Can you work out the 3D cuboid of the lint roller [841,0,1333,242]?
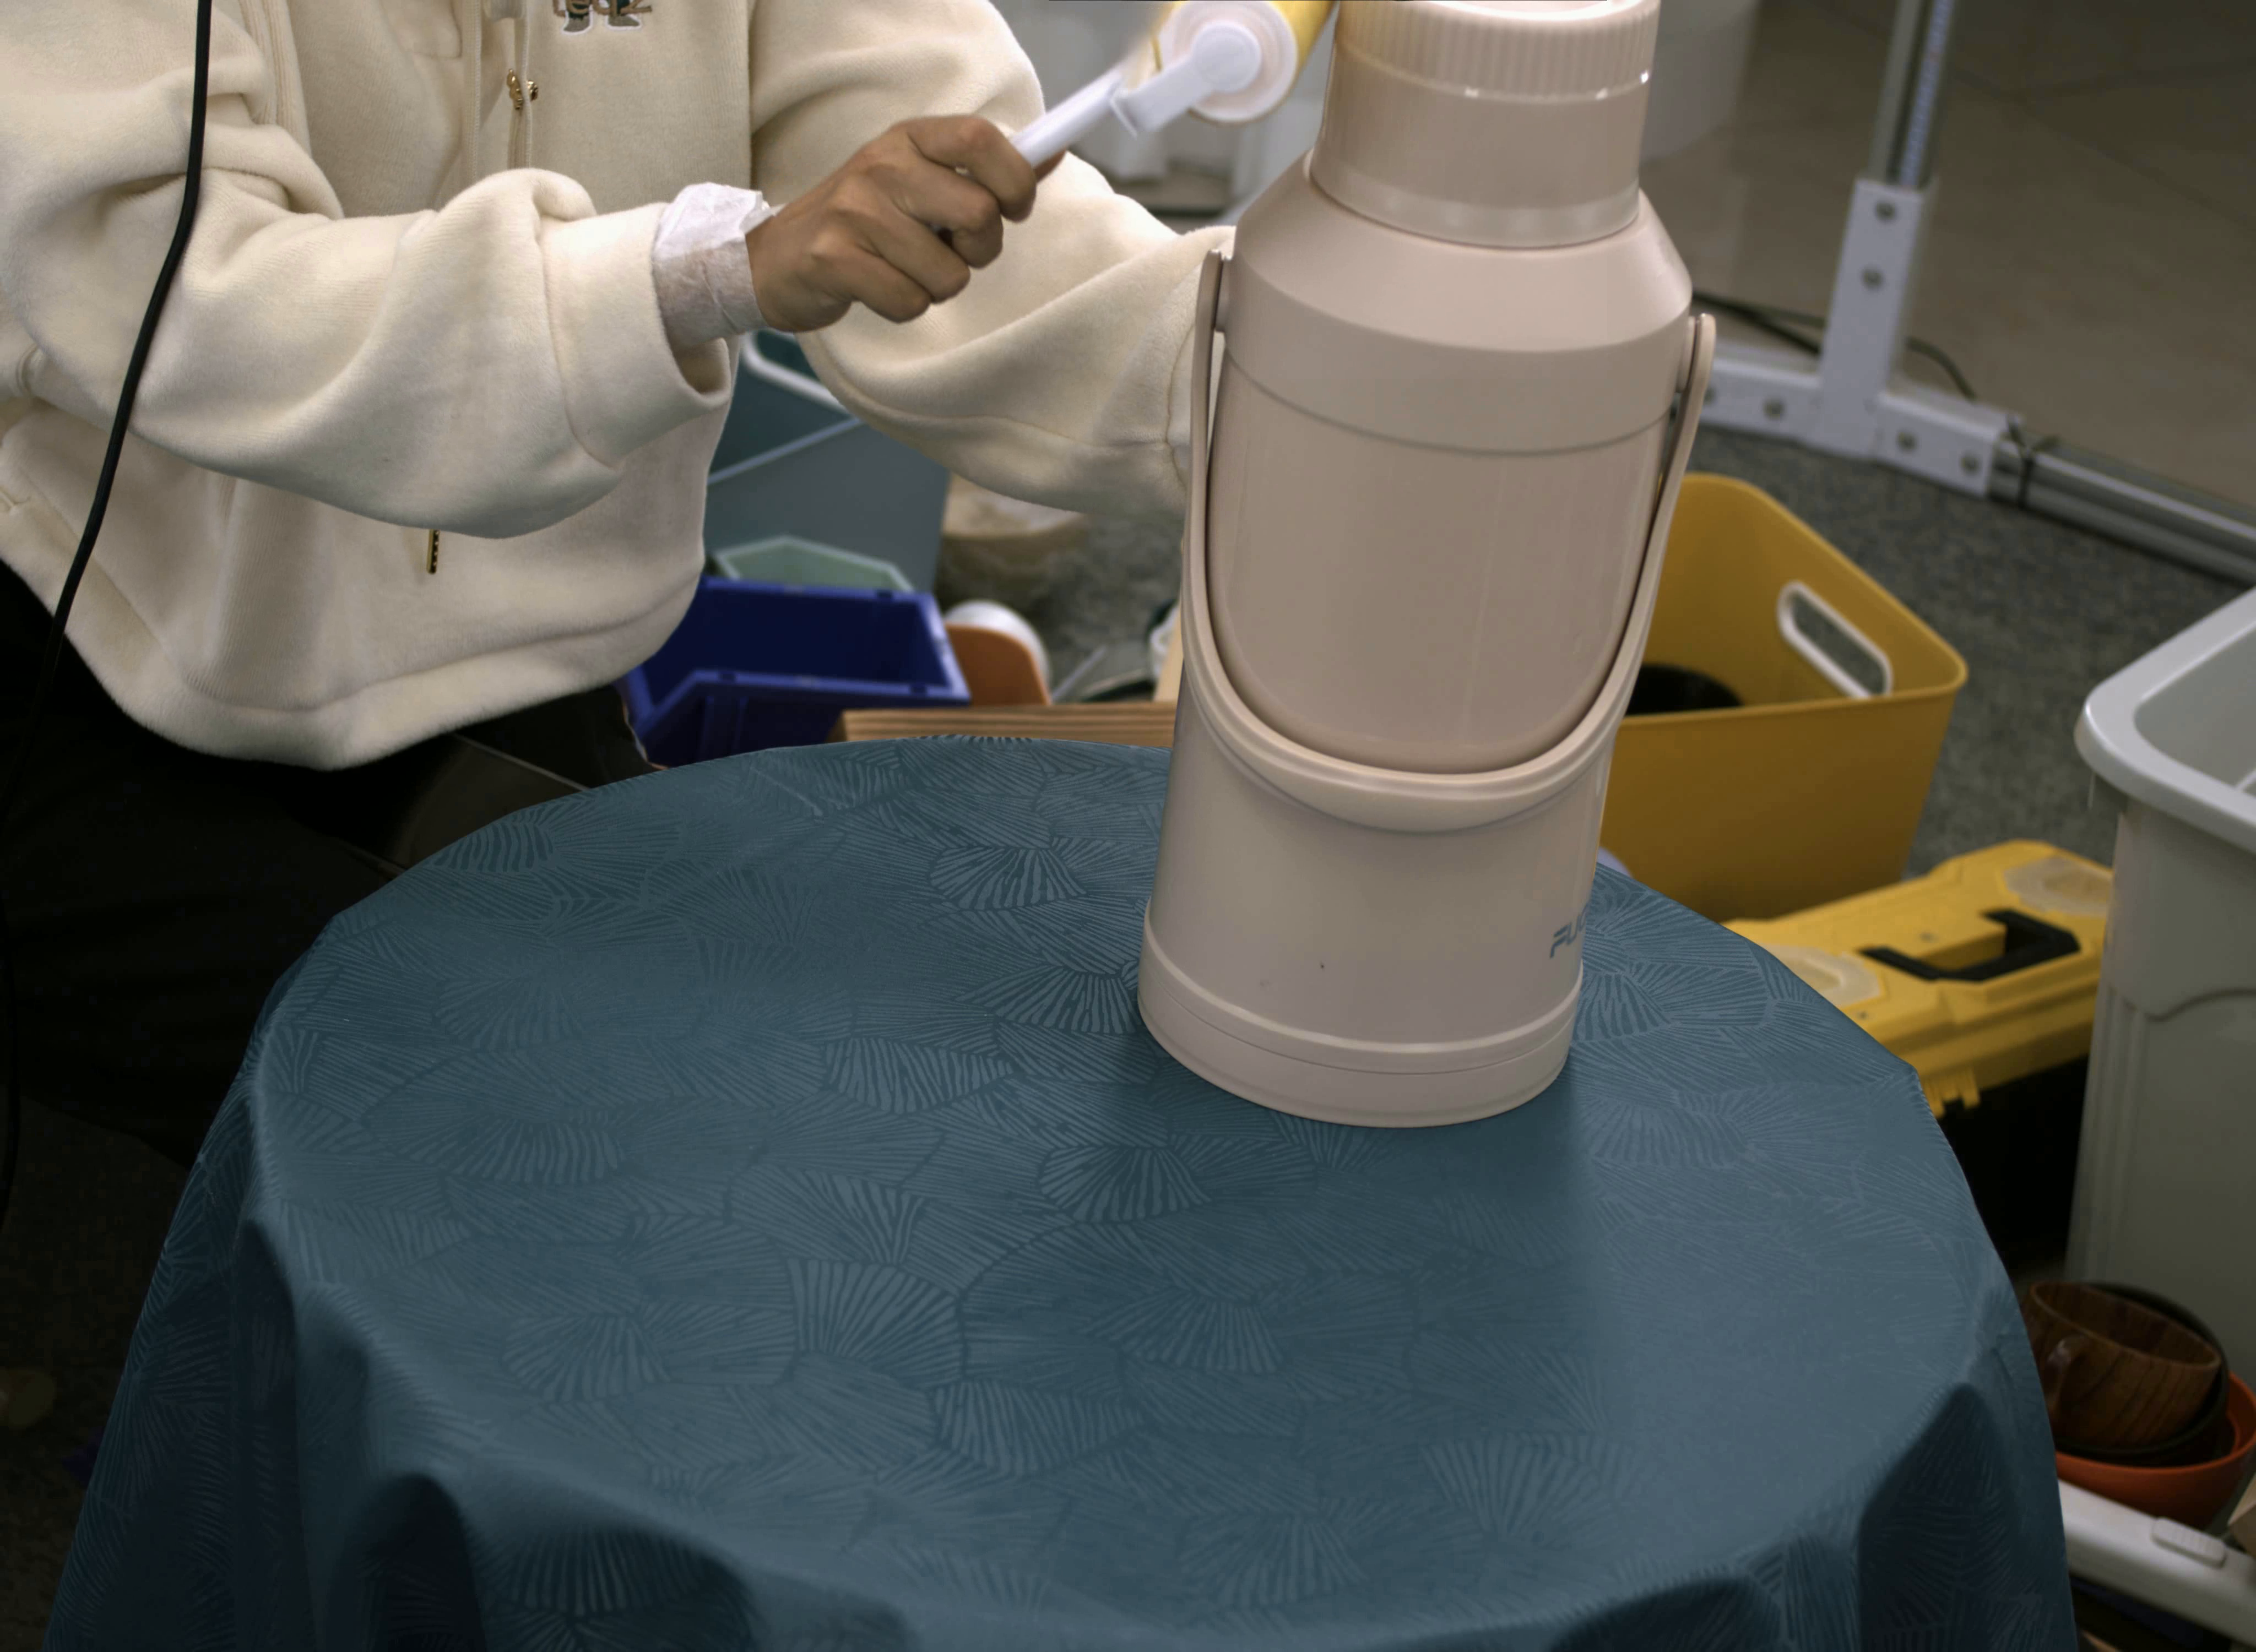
[{"bbox_3d":[-0.019,-0.253,1.785,0.192,0.051,0.175,-21,17,17],"label":"lint roller"}]

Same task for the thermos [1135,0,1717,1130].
[{"bbox_3d":[0.105,-0.111,1.851,0.175,0.405,0.208,7,26,2],"label":"thermos"}]
